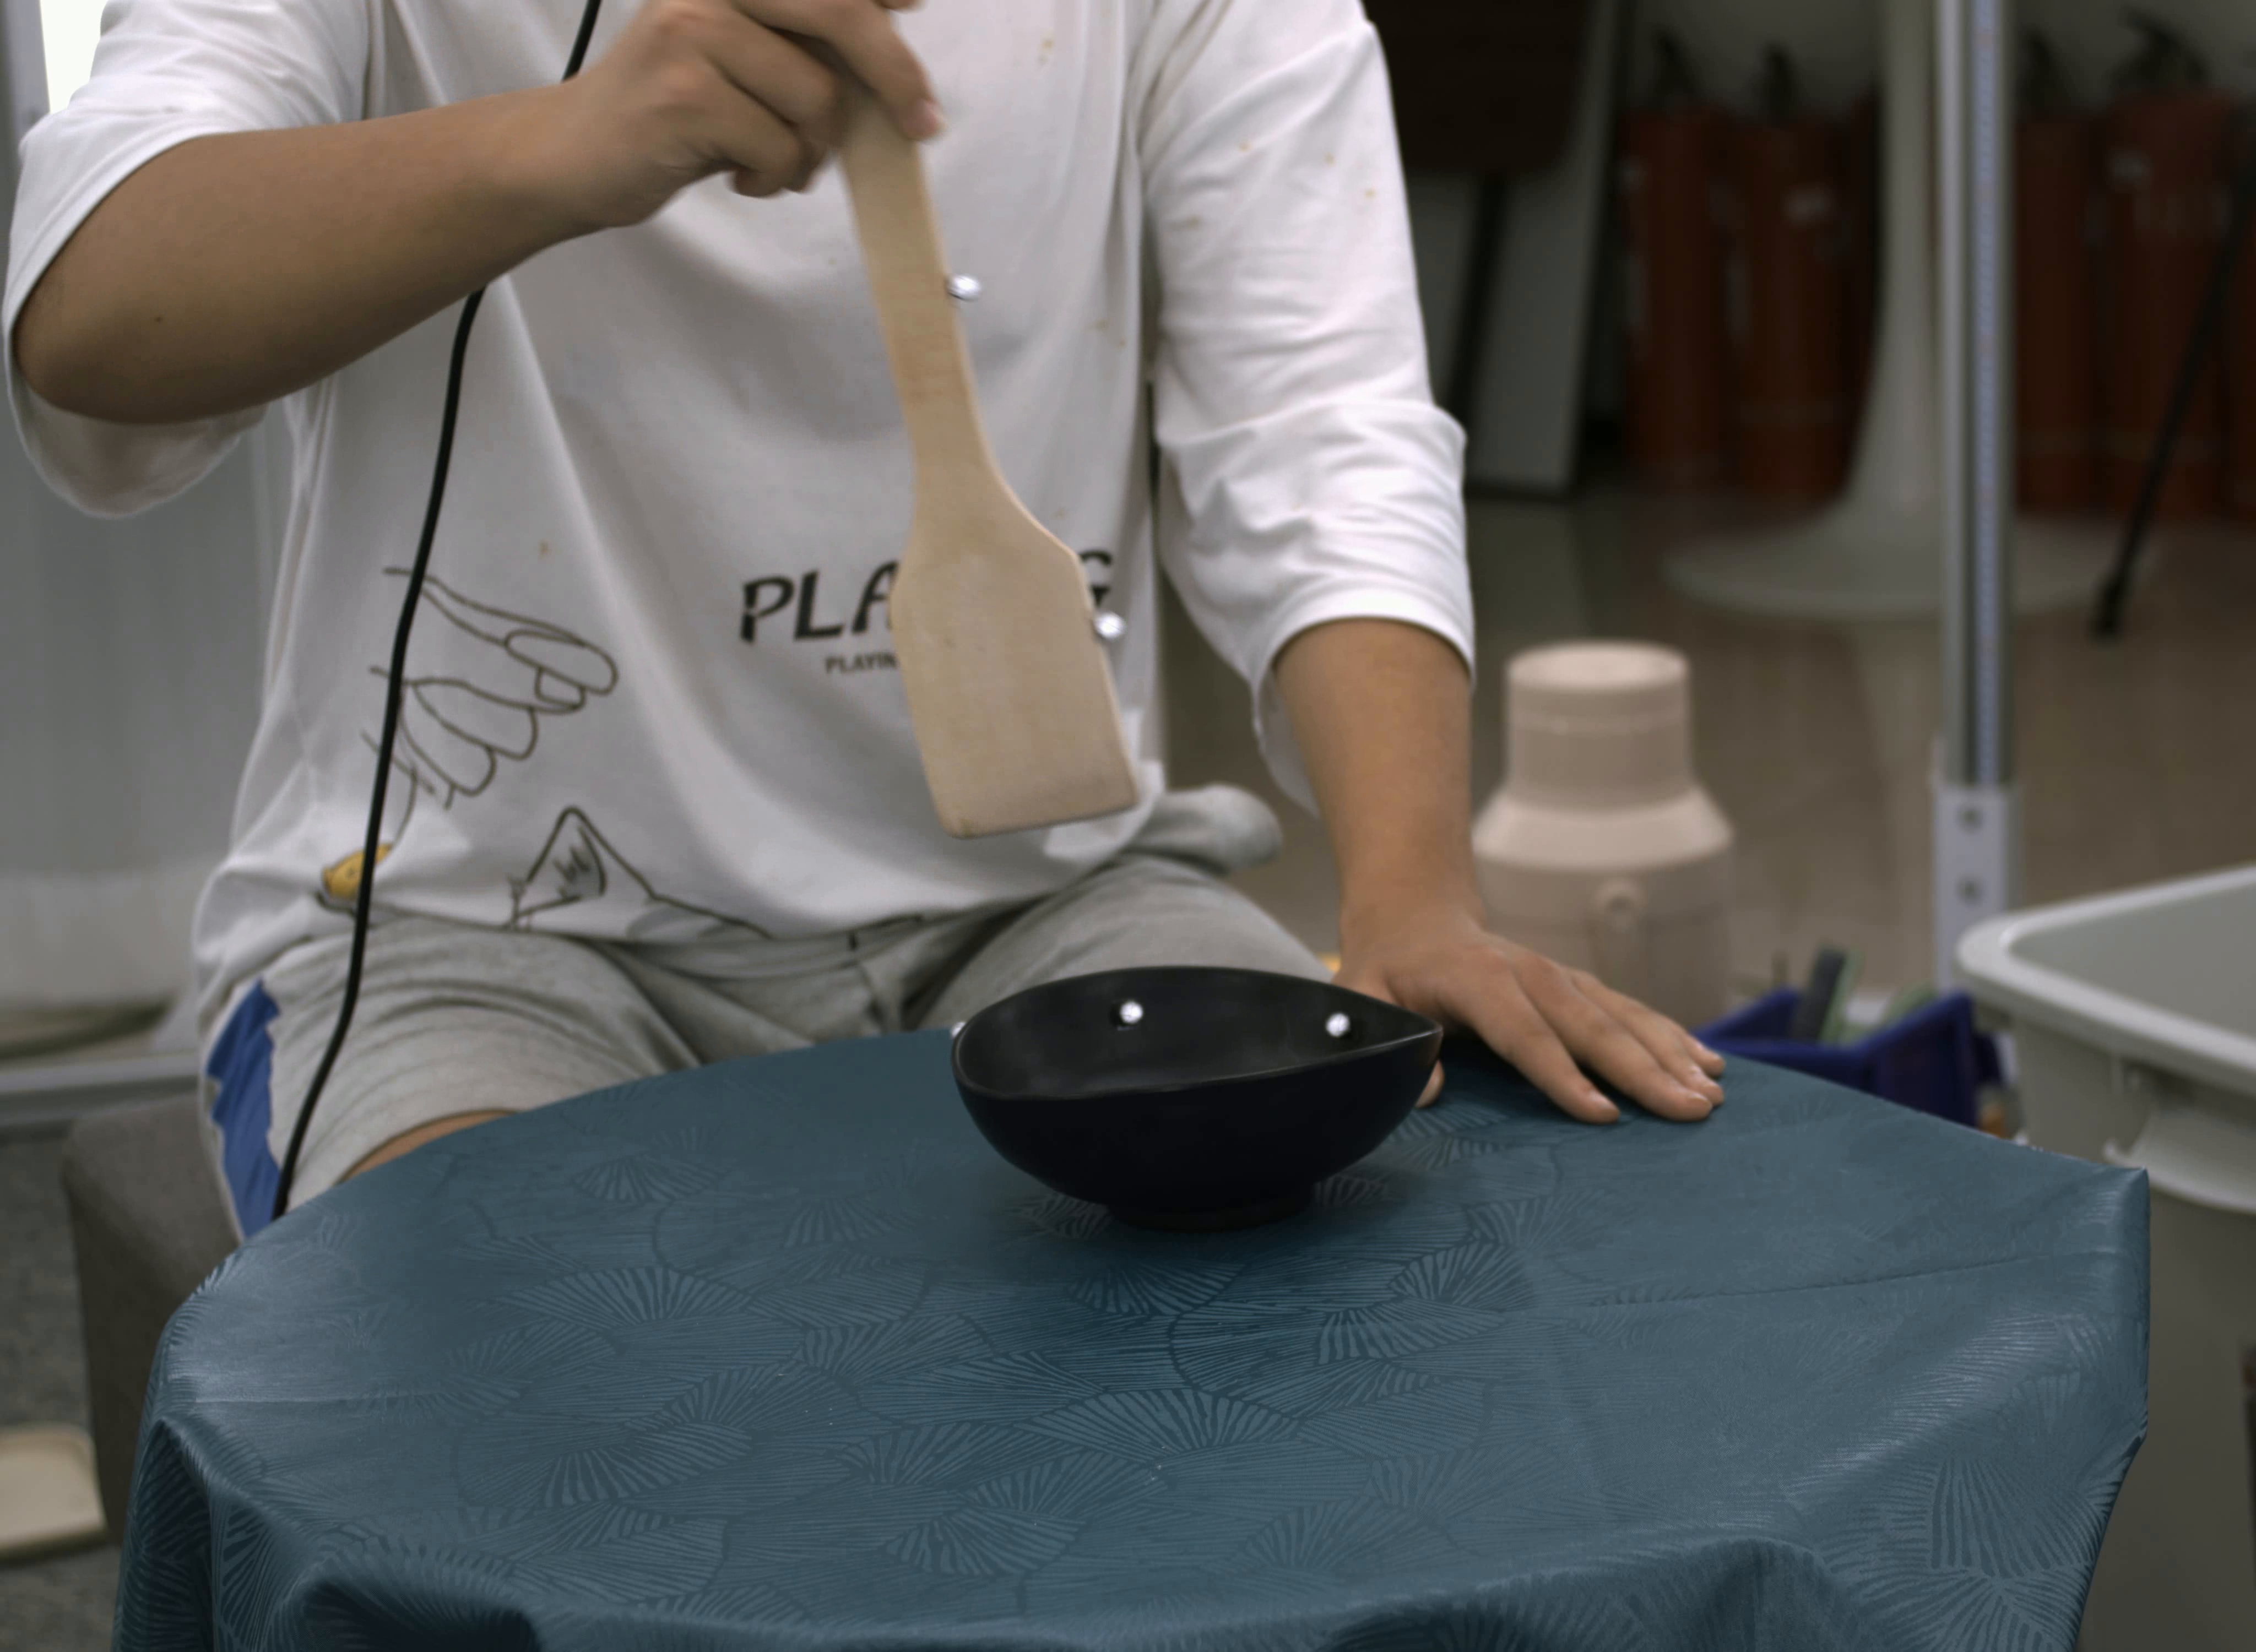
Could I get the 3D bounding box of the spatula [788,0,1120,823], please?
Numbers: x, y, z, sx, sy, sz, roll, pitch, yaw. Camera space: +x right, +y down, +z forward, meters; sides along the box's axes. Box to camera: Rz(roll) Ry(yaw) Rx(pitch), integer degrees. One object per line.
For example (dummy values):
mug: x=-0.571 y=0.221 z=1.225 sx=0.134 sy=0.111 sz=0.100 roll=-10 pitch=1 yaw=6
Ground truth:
spatula: x=-0.065 y=-0.147 z=1.669 sx=0.072 sy=0.296 sz=0.010 roll=-10 pitch=7 yaw=28

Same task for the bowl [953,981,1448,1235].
bowl: x=0.024 y=0.093 z=1.751 sx=0.166 sy=0.067 sz=0.139 roll=-9 pitch=13 yaw=-29
